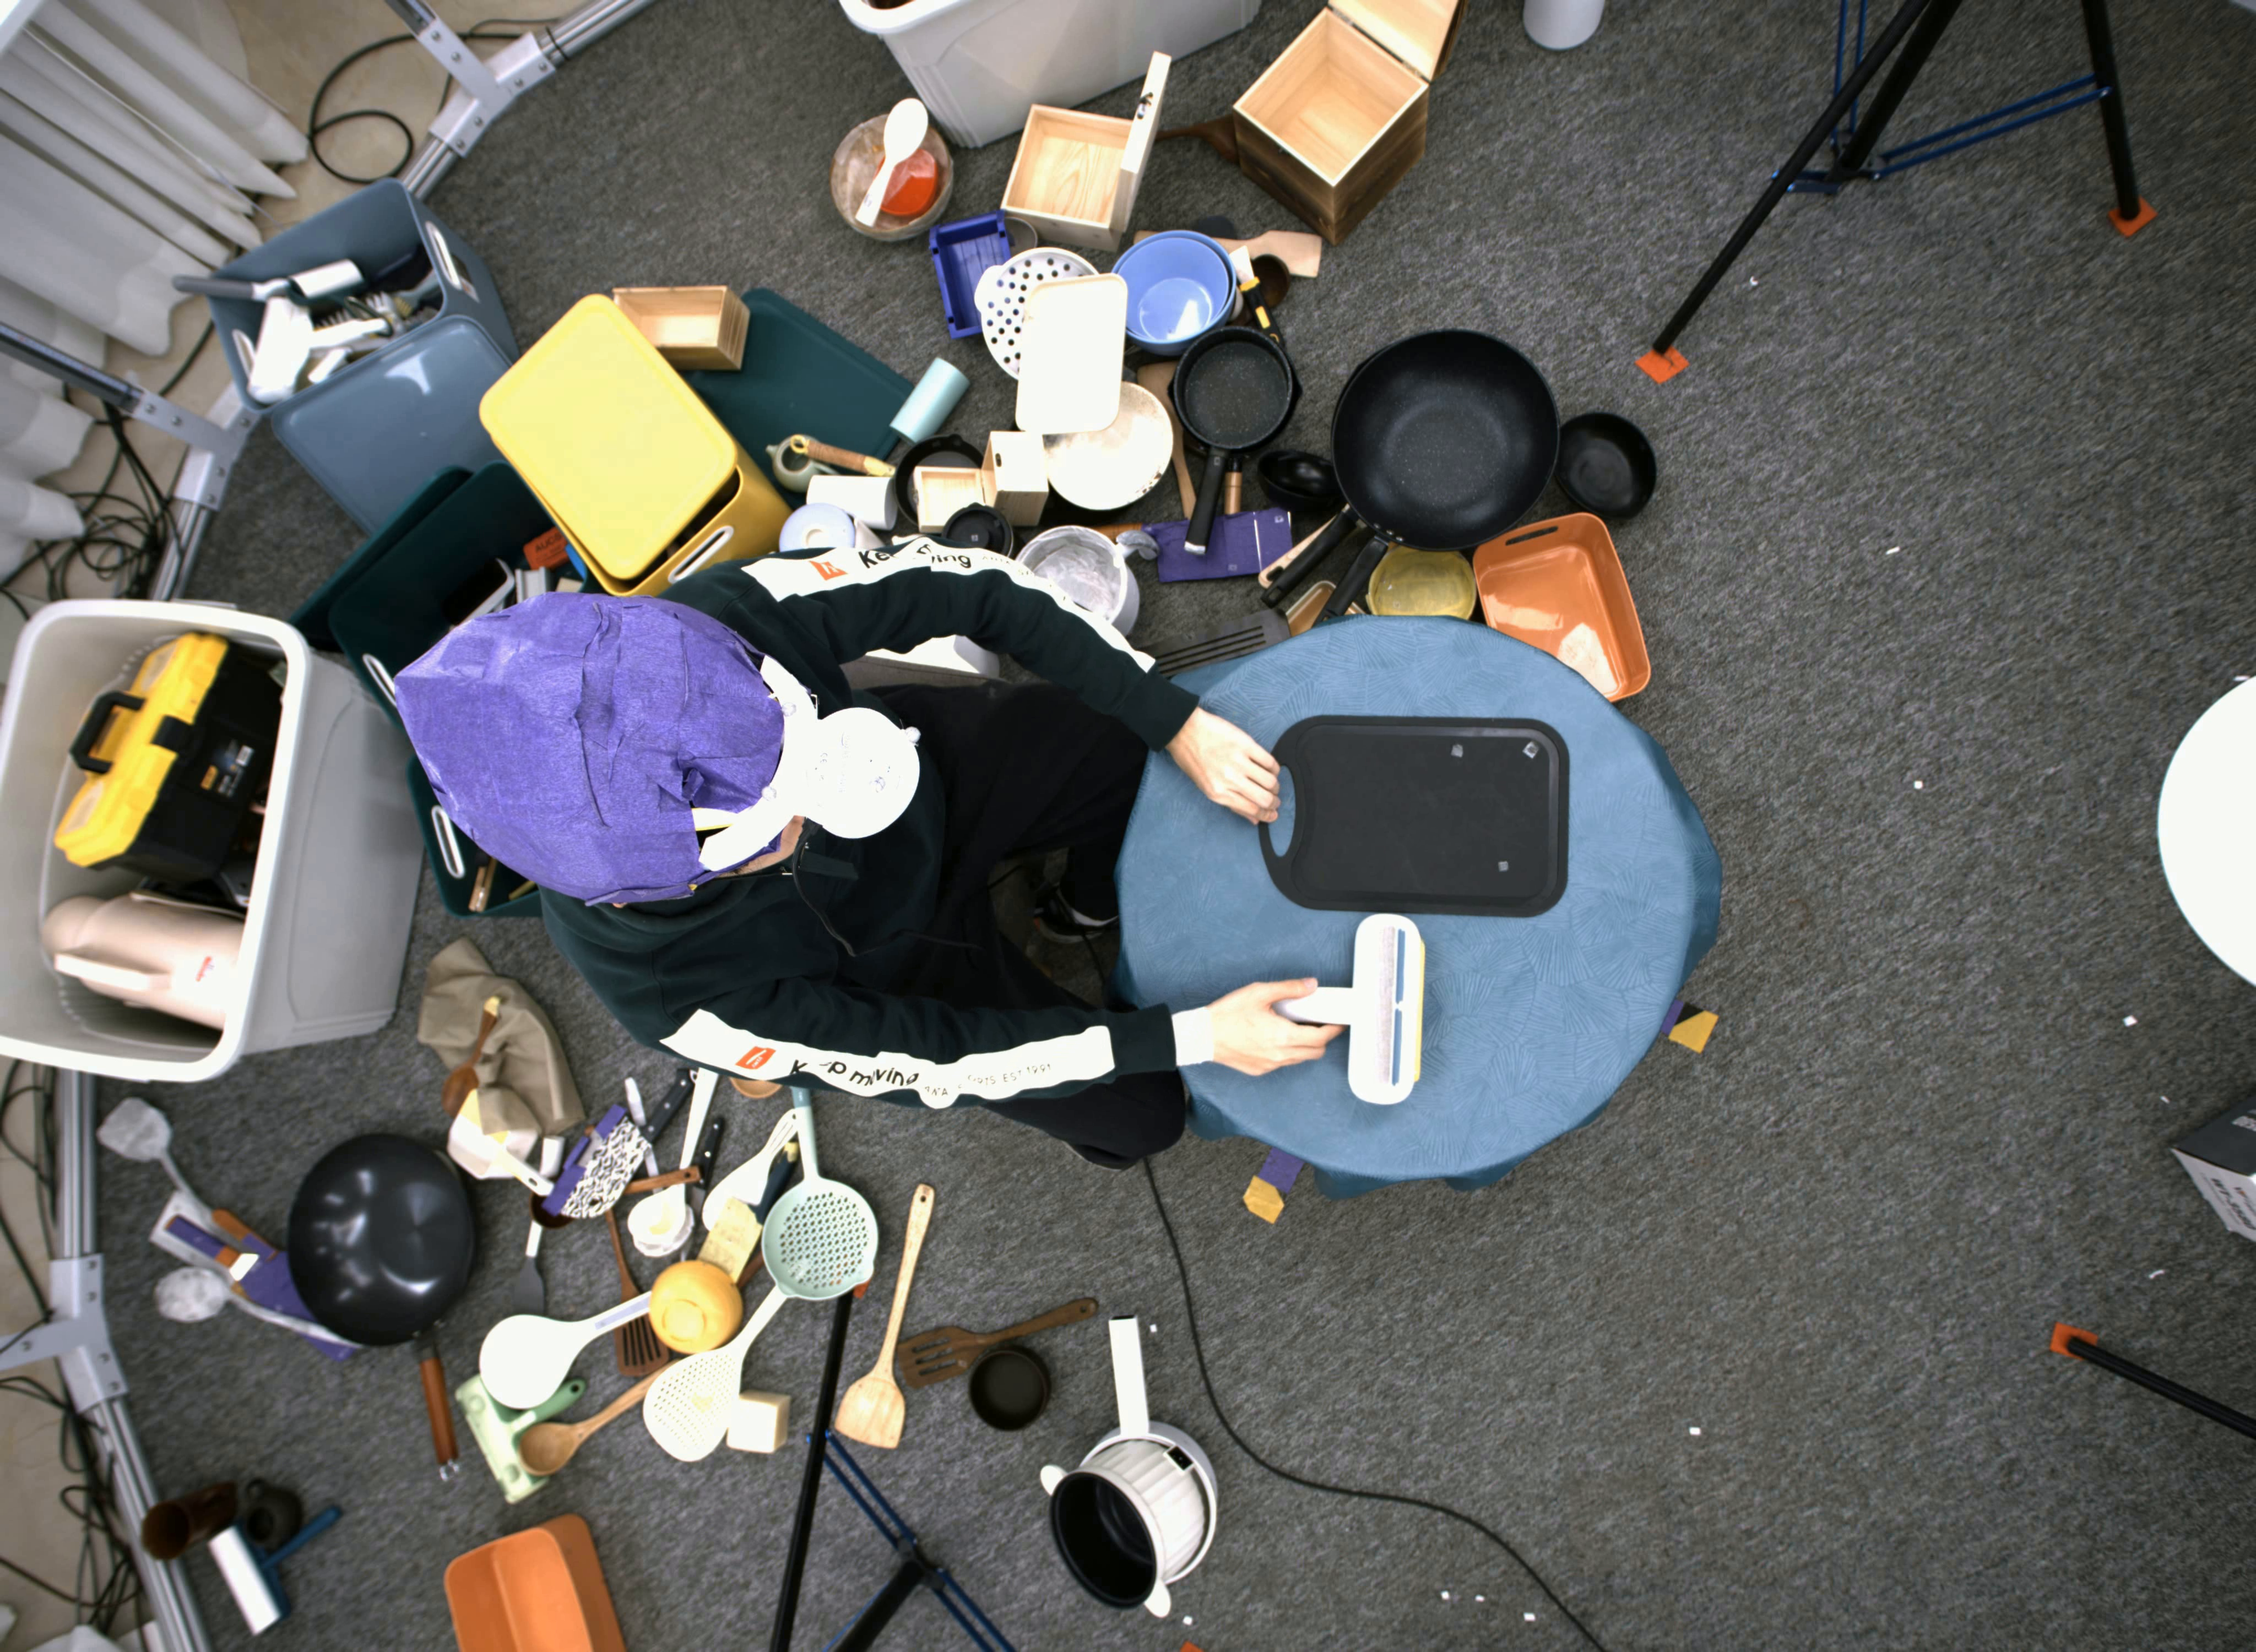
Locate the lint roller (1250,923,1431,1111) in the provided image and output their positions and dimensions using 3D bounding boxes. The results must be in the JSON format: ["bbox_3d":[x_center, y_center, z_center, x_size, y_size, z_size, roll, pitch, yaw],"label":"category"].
[{"bbox_3d":[0.212,0.190,1.445,0.193,0.074,0.191,6,81,25],"label":"lint roller"}]

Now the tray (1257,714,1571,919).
[{"bbox_3d":[0.299,-0.013,1.451,0.326,0.010,0.210,2,87,10],"label":"tray"}]
